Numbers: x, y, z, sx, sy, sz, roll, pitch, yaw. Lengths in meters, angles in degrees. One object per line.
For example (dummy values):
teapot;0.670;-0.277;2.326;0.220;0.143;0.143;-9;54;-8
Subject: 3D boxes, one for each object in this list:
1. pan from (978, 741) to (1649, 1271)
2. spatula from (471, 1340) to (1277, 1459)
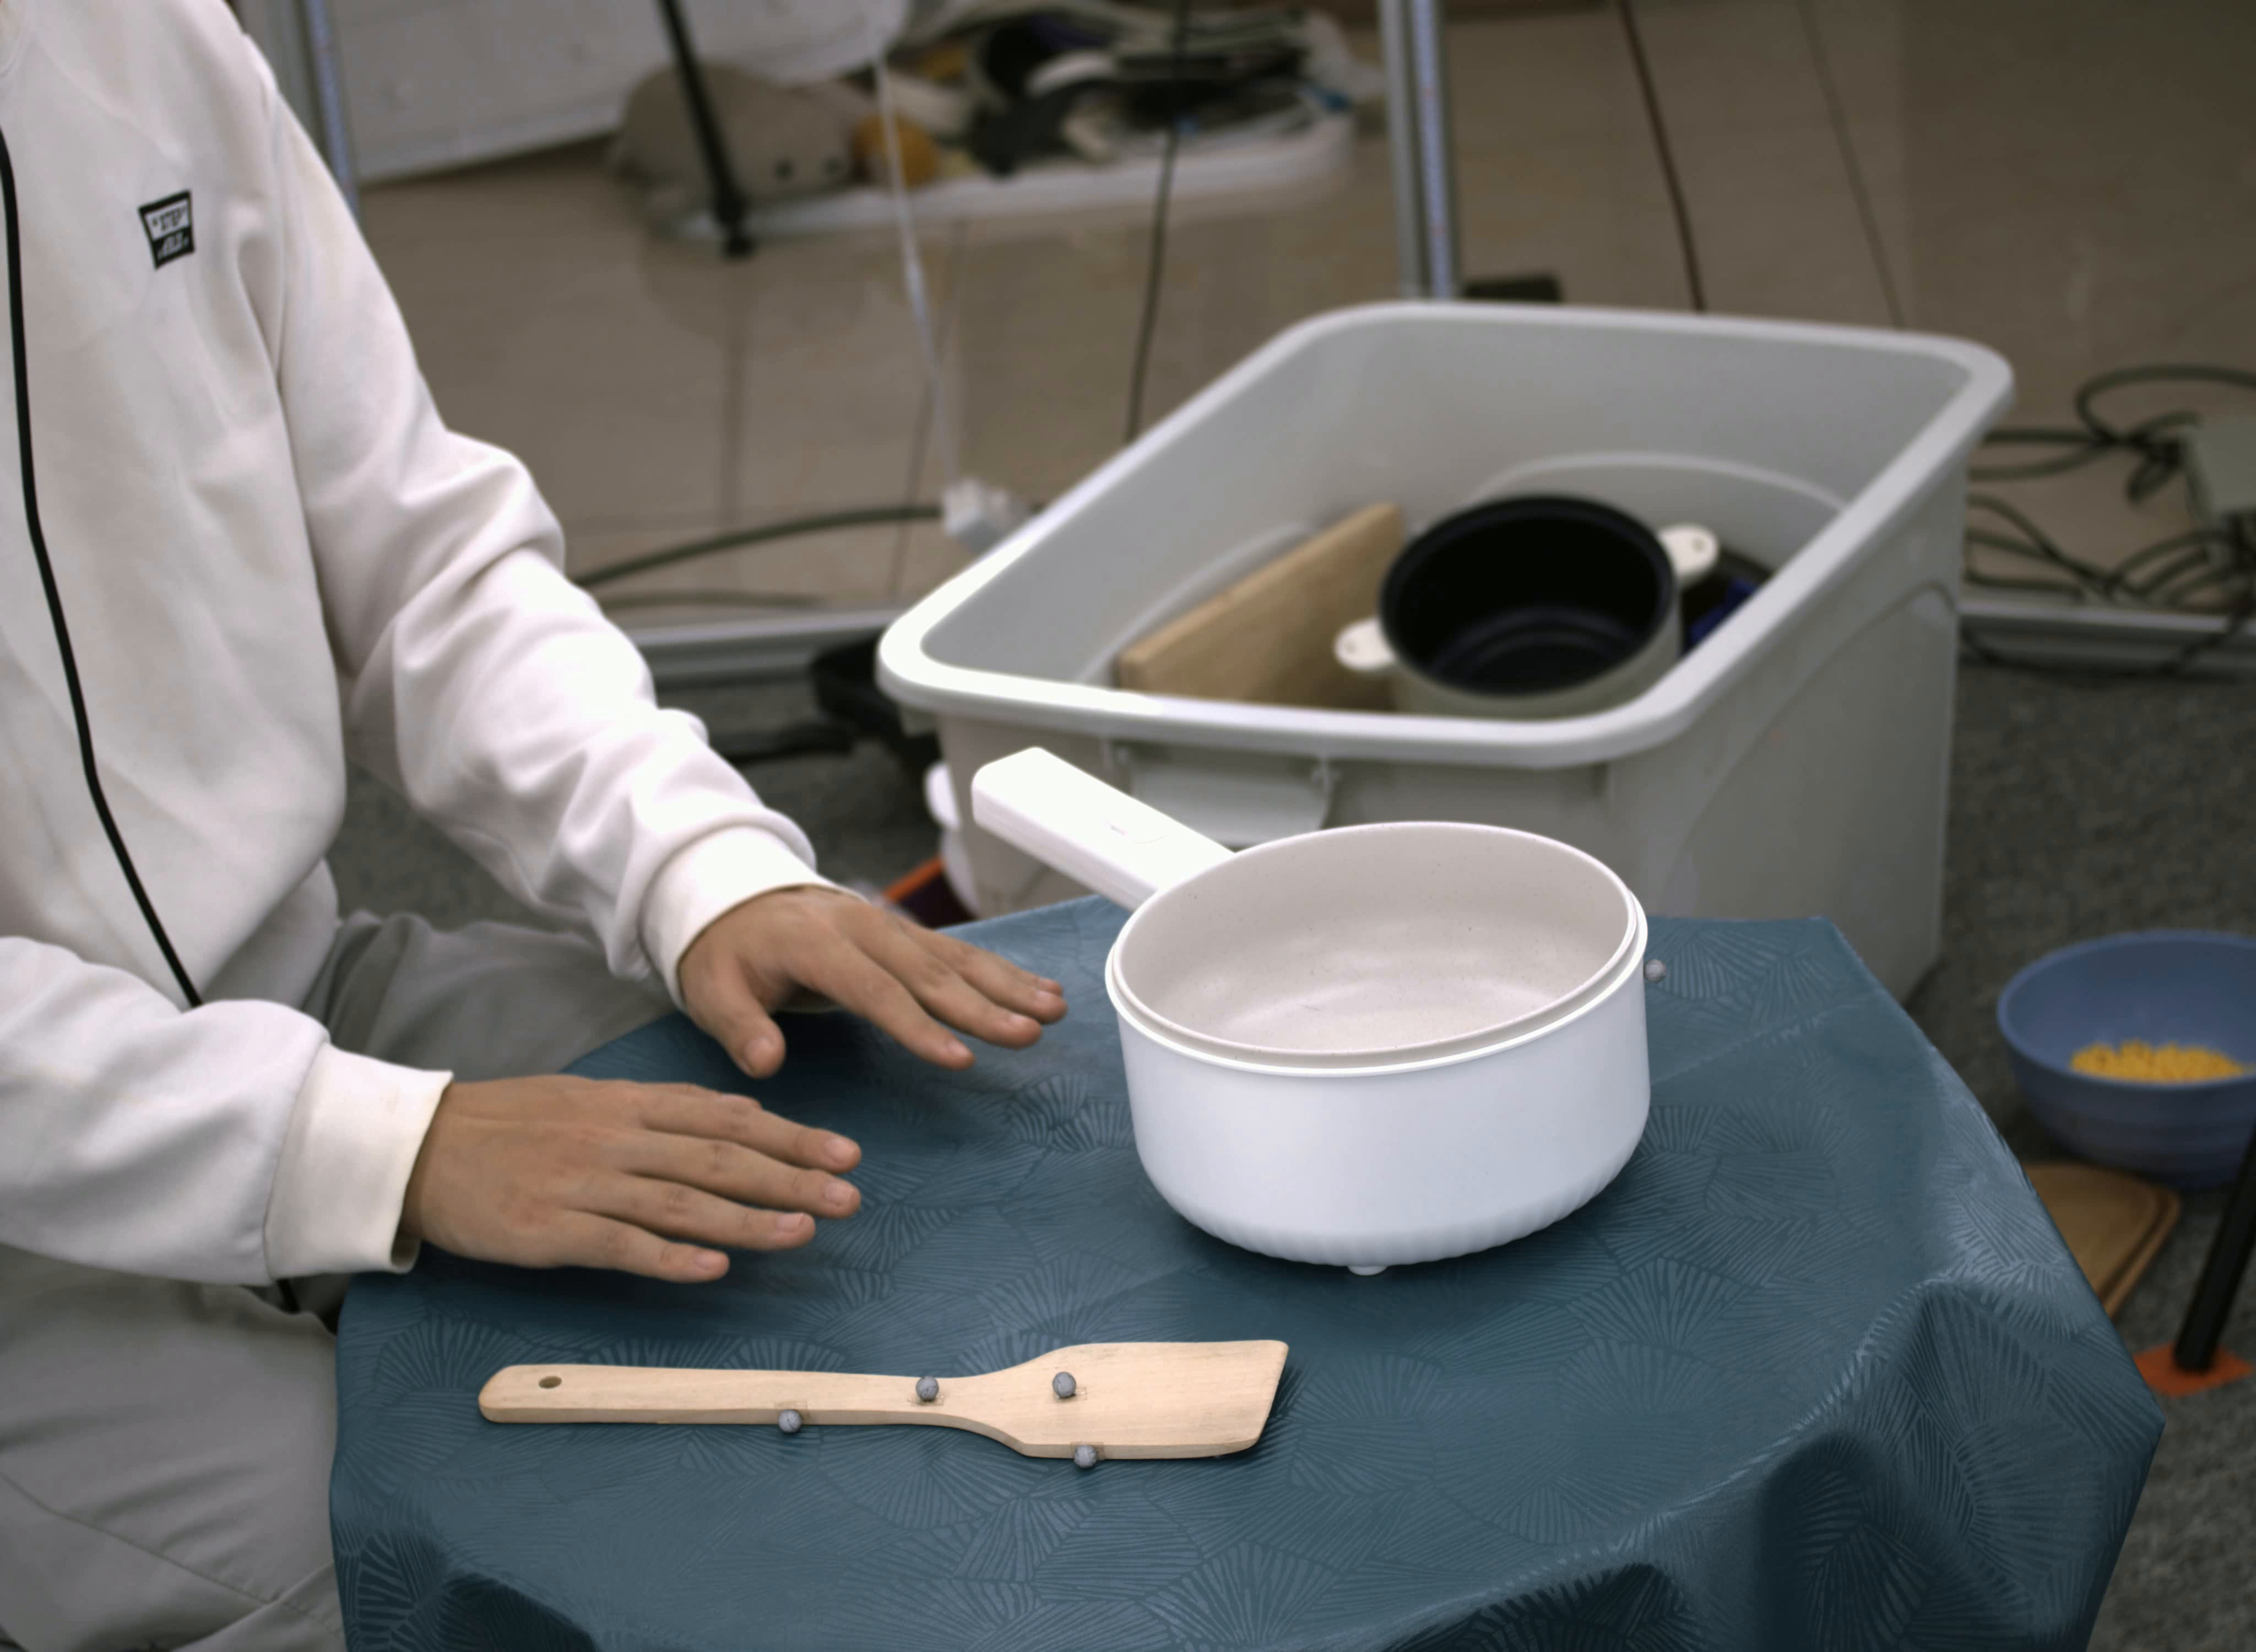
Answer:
pan;0.054;0.062;2.176;0.200;0.104;0.351;-21;28;-28
spatula;-0.094;0.203;2.021;0.292;0.011;0.071;-1;26;12
